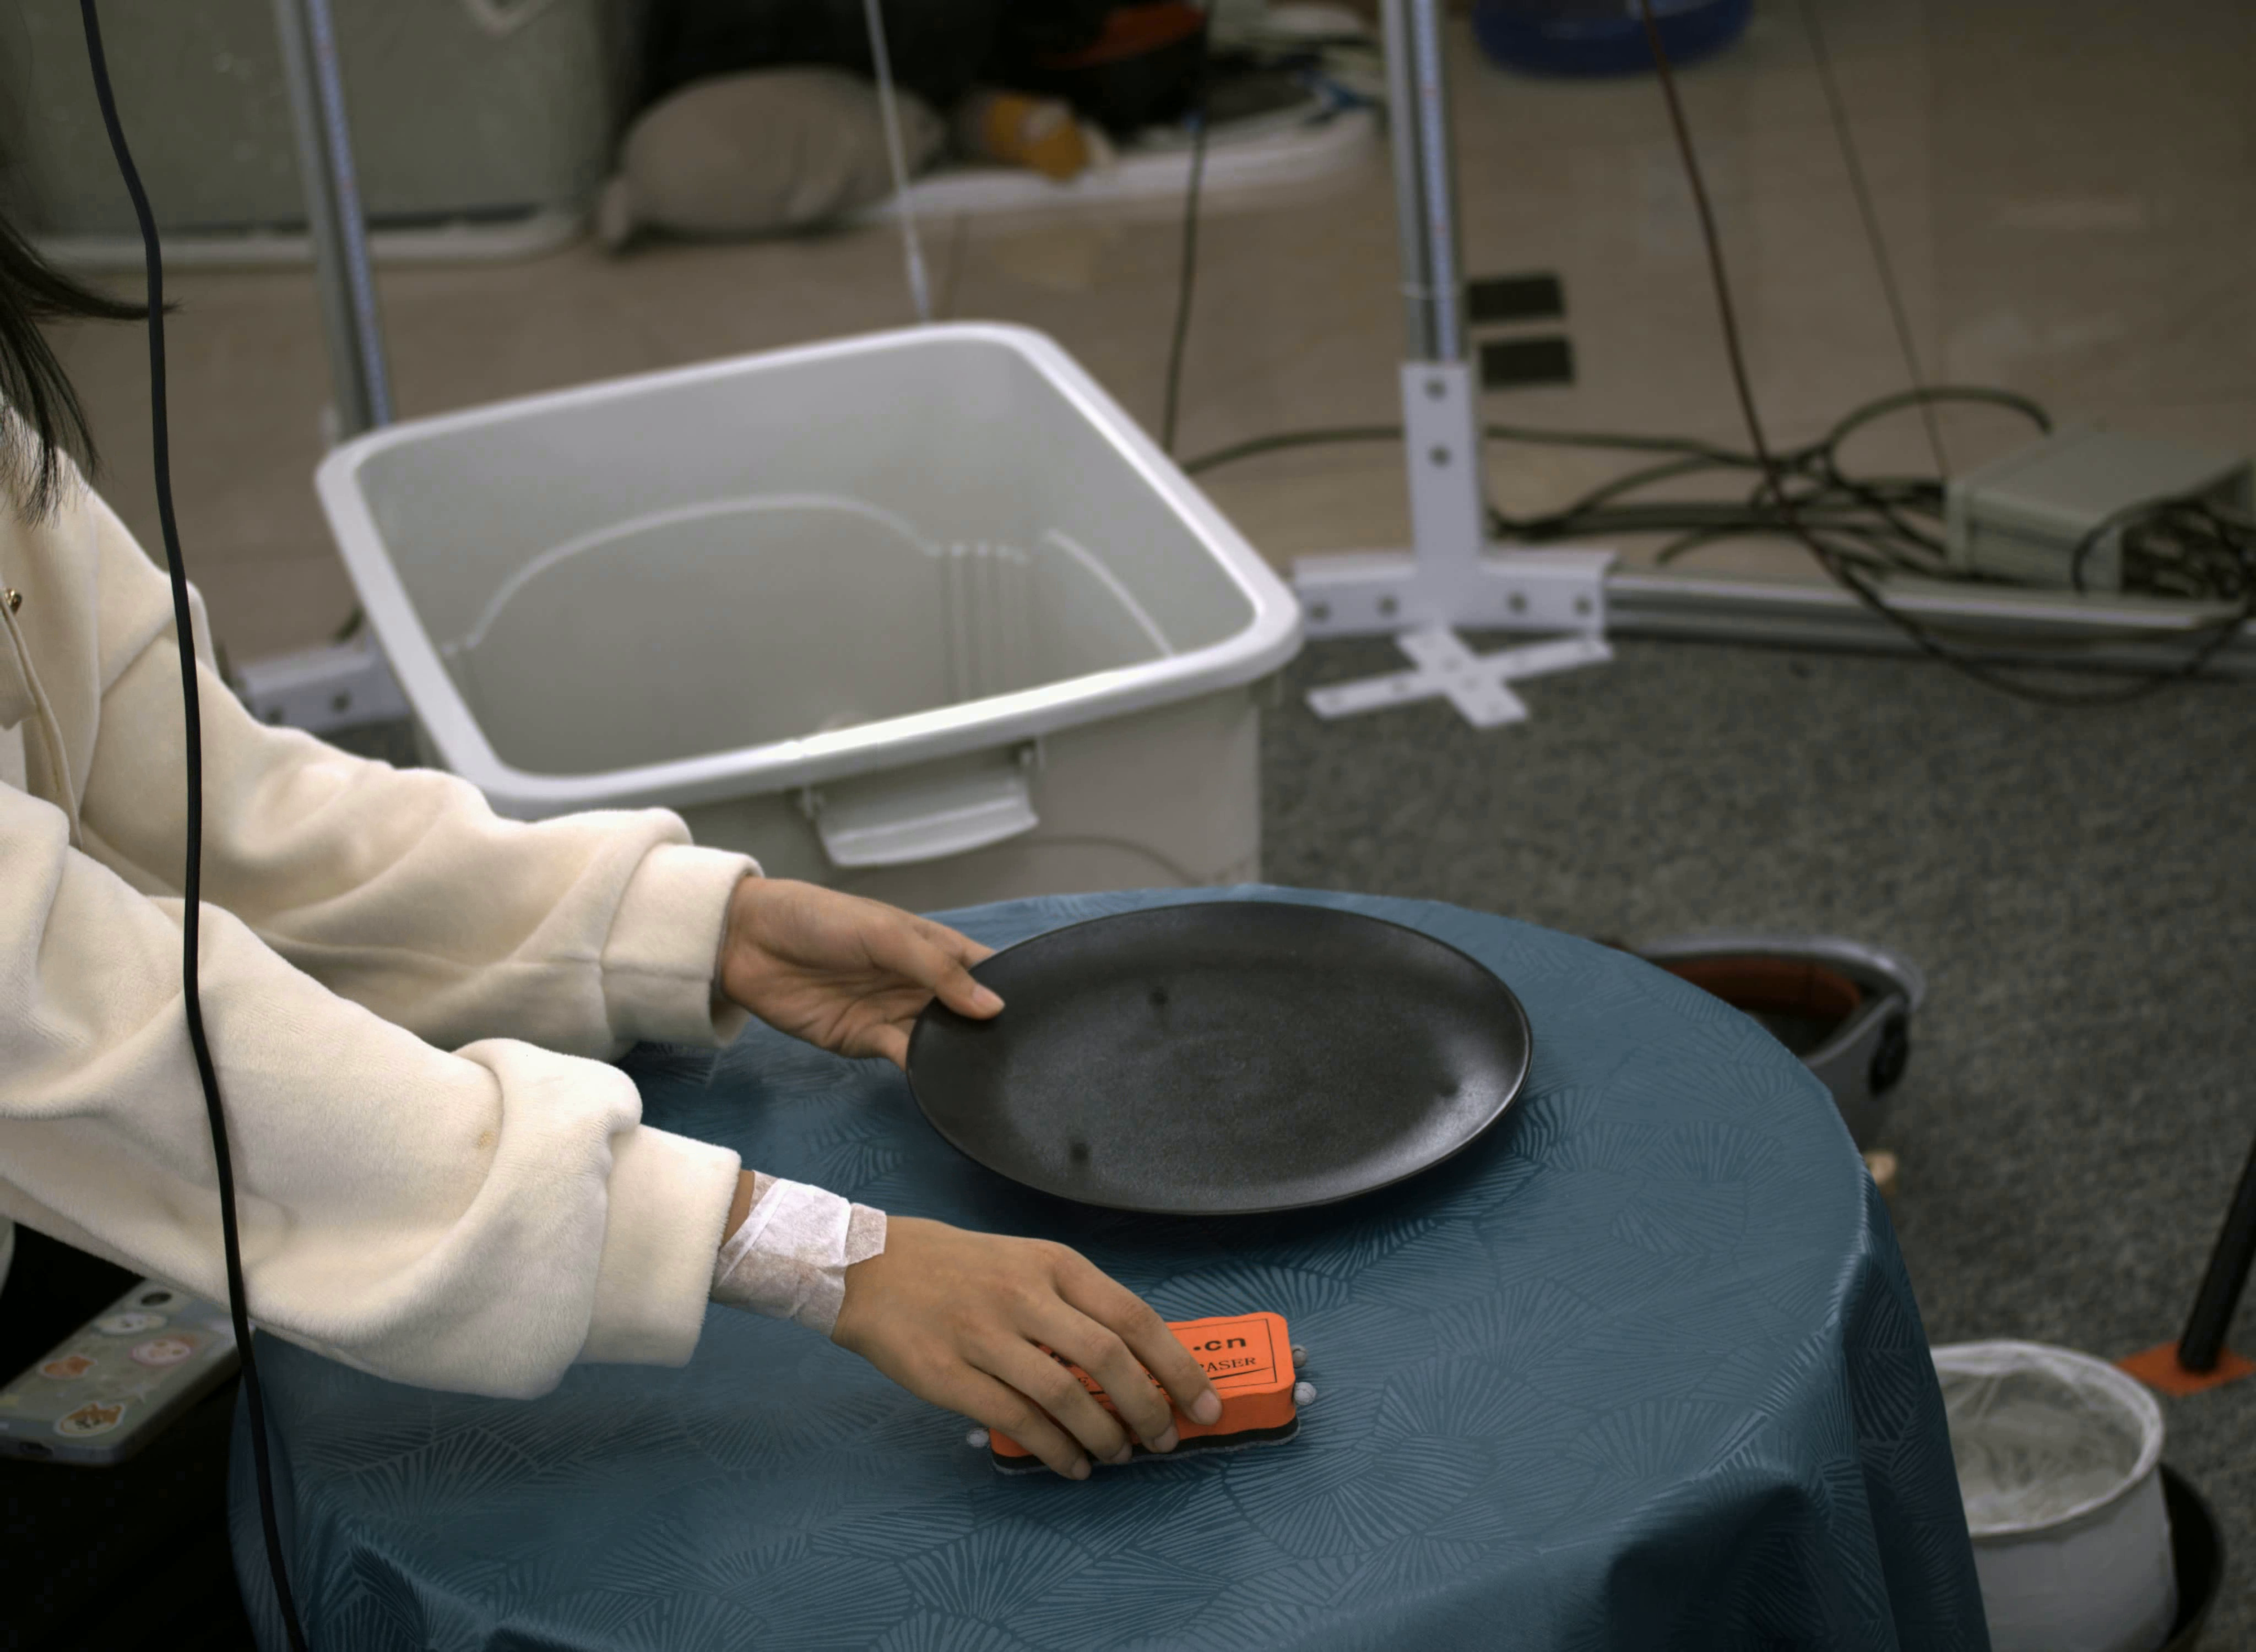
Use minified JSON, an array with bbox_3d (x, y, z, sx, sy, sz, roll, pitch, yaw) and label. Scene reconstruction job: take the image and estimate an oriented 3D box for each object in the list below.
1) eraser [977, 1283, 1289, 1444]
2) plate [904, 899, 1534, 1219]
[{"bbox_3d":[0.001,0.188,1.986,0.108,0.023,0.058,-5,30,0],"label":"eraser"},{"bbox_3d":[0.035,0.095,2.190,0.244,0.024,0.240,-2,28,1],"label":"plate"}]
